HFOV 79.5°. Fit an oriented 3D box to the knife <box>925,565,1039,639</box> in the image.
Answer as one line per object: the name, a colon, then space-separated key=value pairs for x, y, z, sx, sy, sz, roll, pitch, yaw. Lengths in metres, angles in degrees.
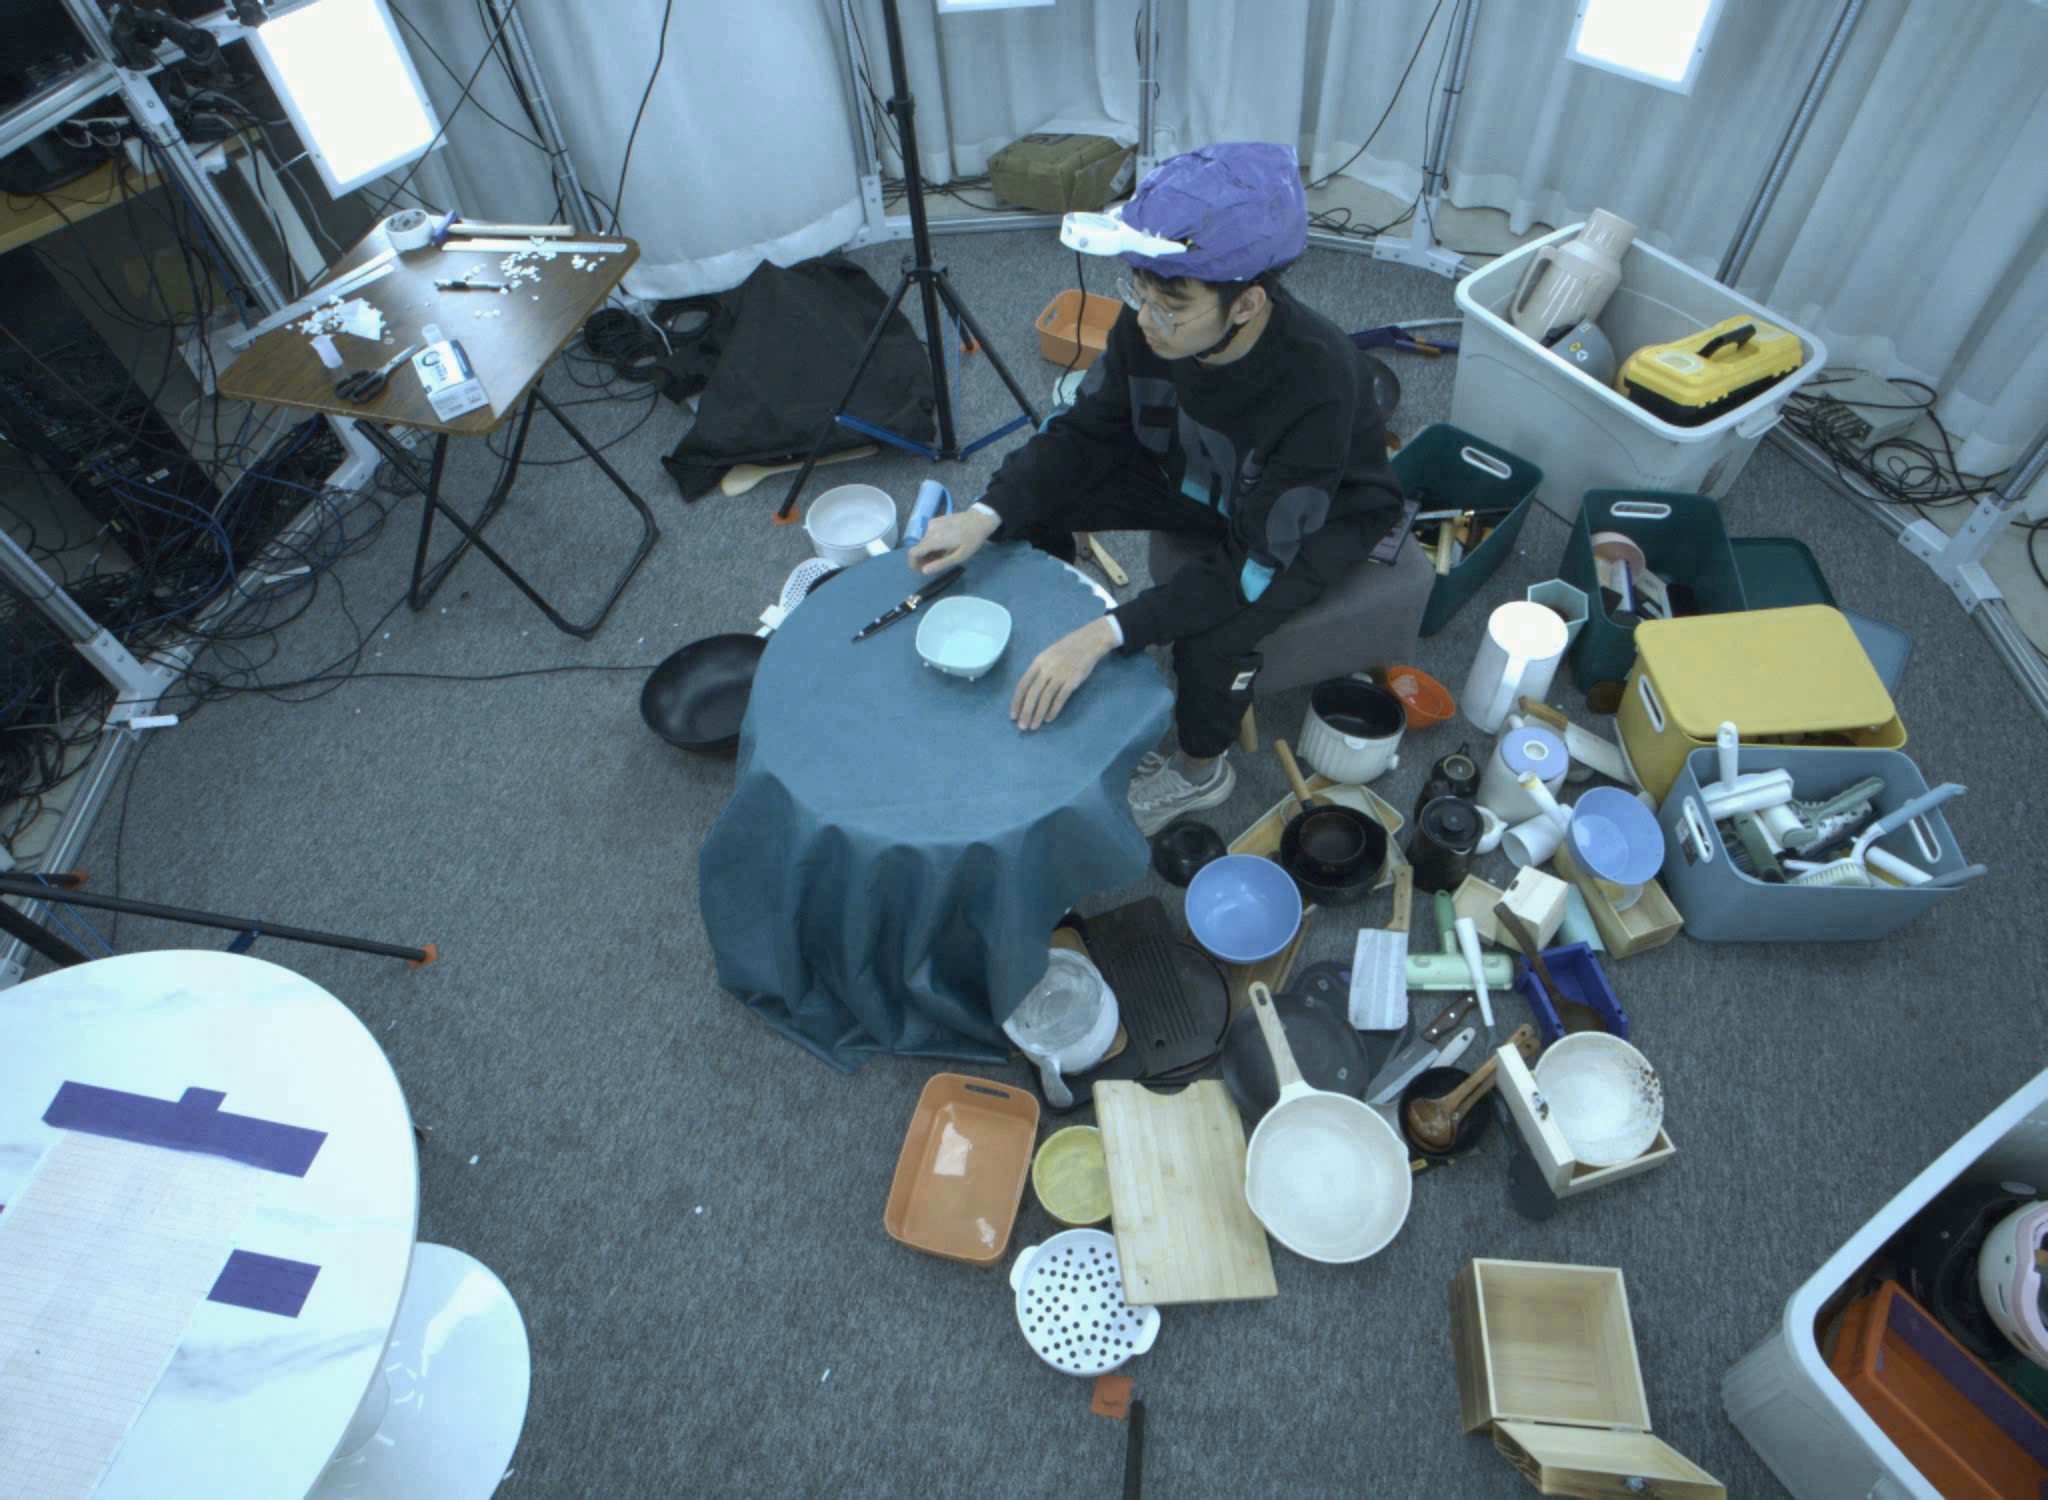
knife: x=-0.067 y=-0.236 z=1.949 sx=0.227 sy=0.017 sz=0.025 roll=-33 pitch=57 yaw=-19

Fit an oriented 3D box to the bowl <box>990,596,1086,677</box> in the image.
bowl: x=0.023 y=-0.163 z=1.868 sx=0.151 sy=0.059 sz=0.150 roll=-1 pitch=54 yaw=3
